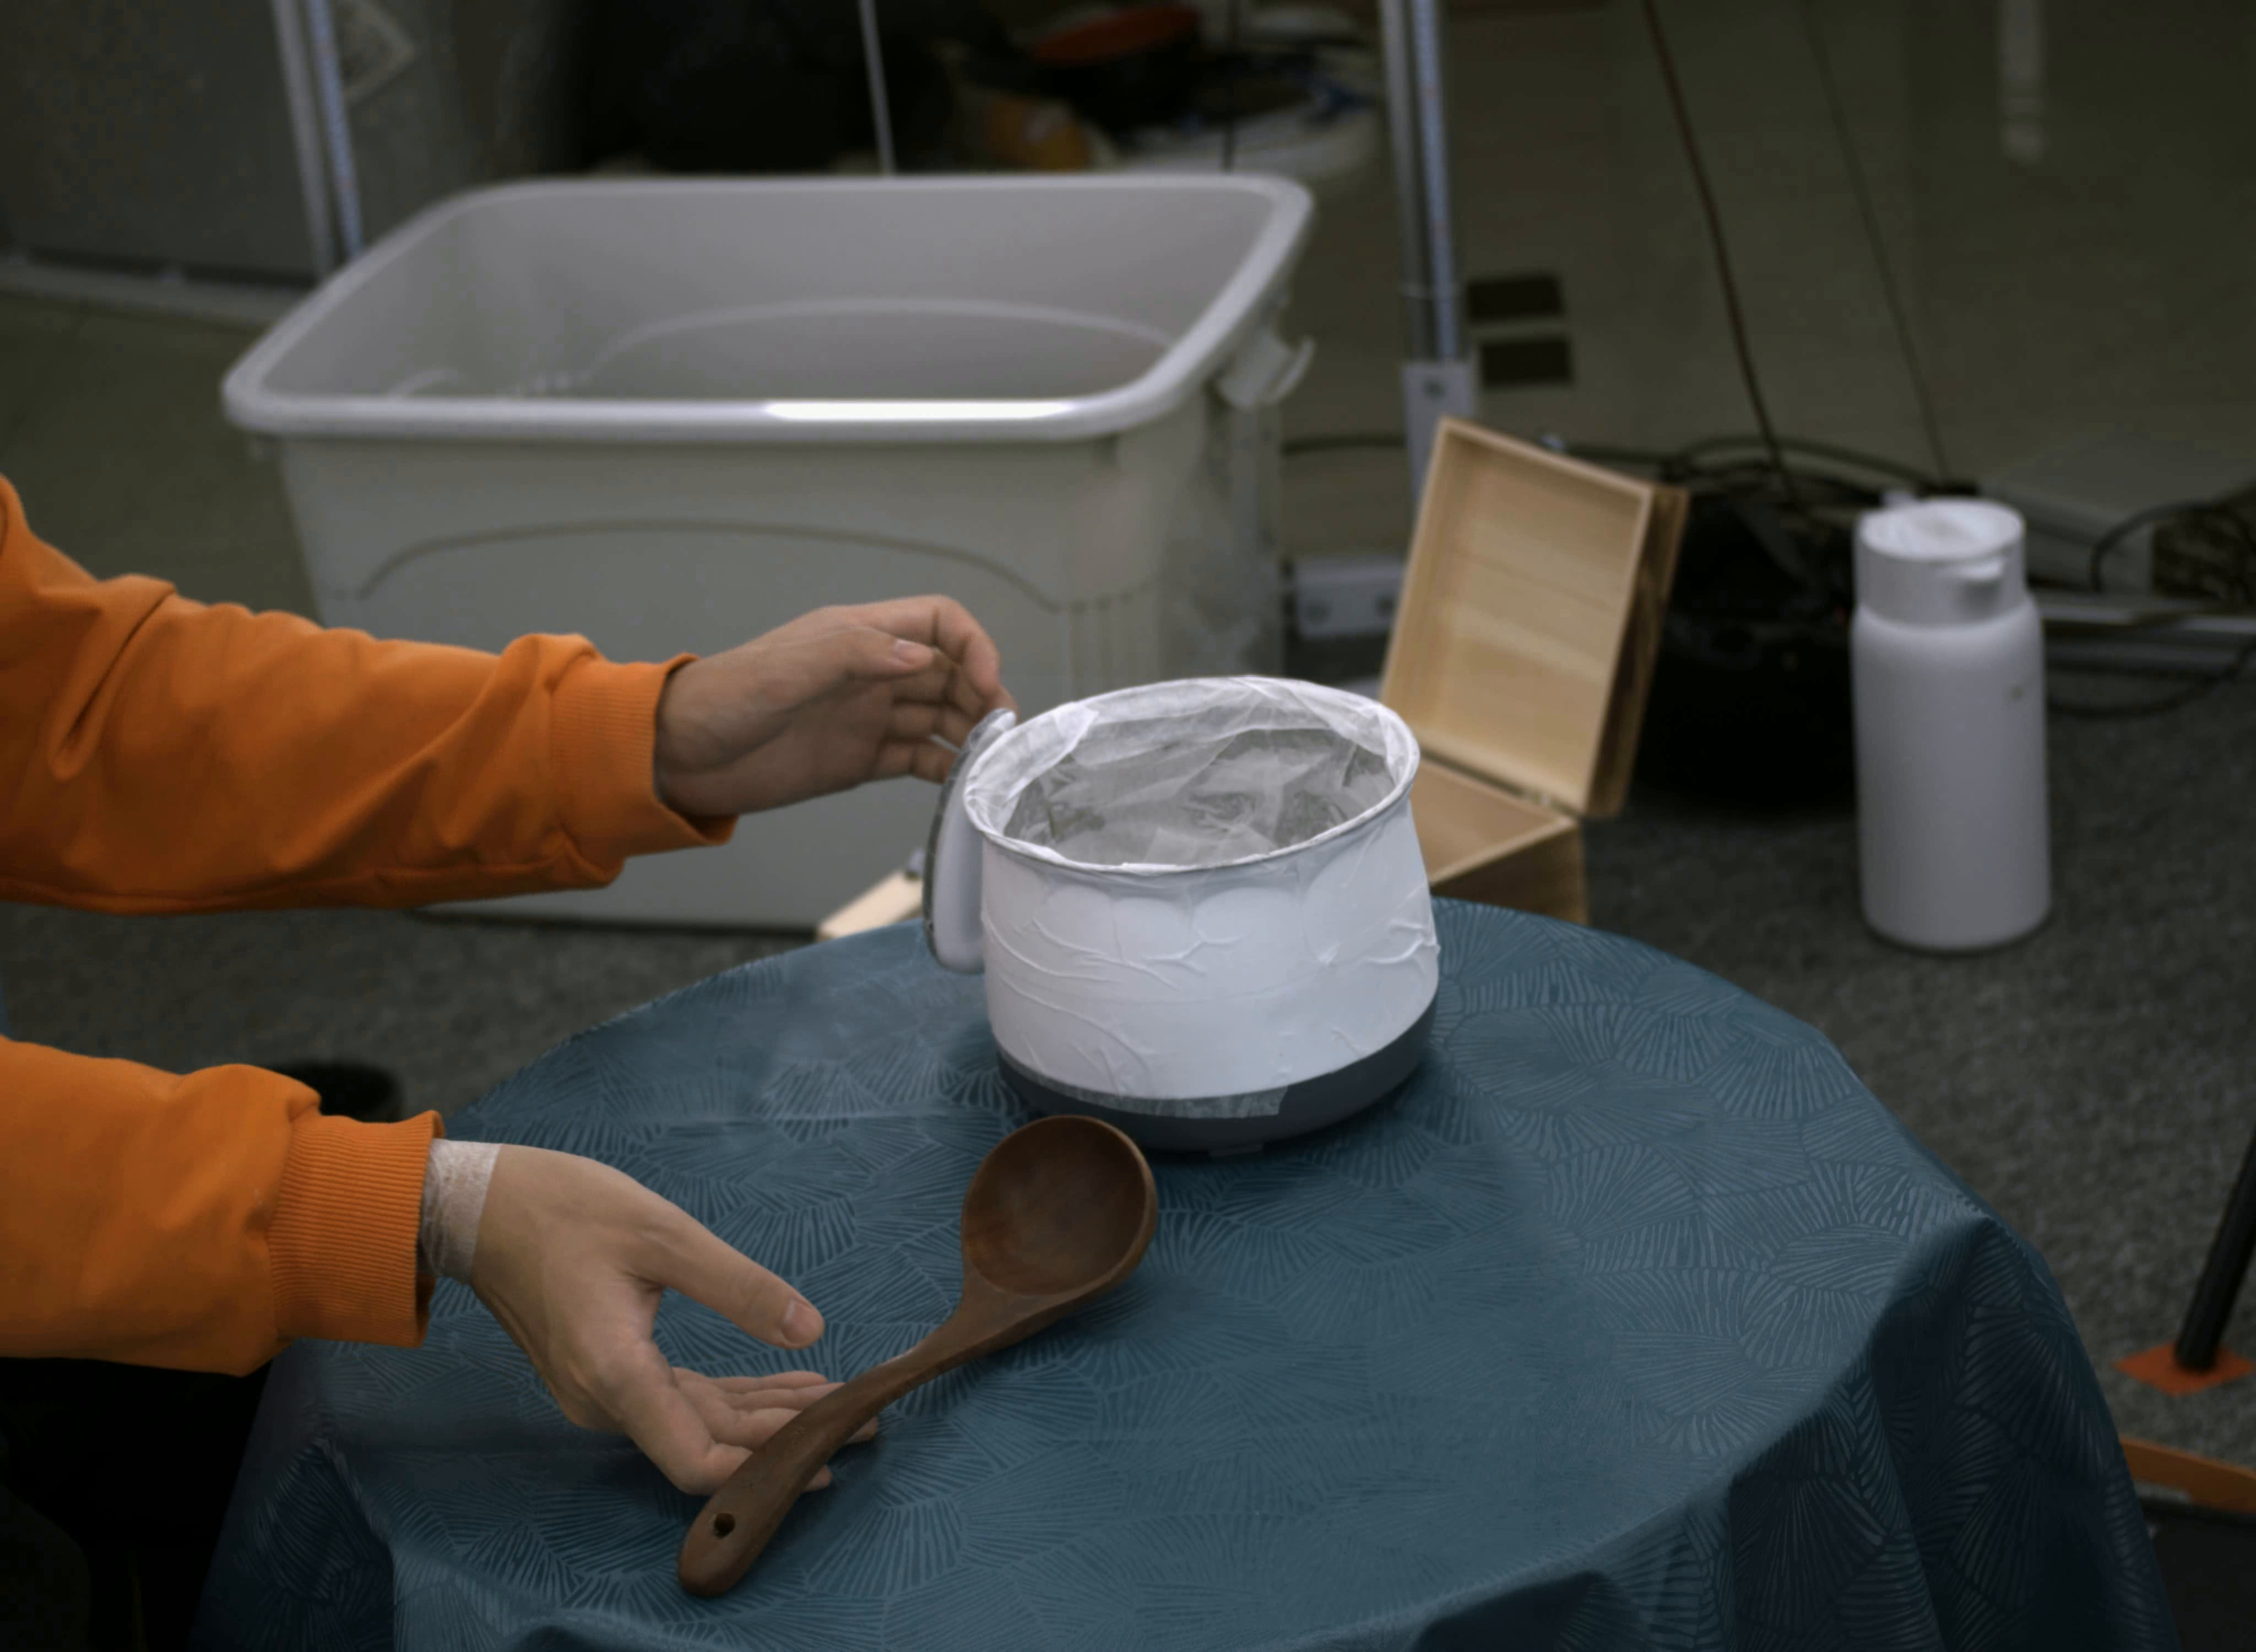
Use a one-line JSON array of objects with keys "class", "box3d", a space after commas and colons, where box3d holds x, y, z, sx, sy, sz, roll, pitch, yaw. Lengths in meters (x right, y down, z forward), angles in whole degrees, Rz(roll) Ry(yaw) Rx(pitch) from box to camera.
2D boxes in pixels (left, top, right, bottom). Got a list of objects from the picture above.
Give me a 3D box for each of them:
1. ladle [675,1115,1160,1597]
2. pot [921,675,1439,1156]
[{"class": "ladle", "box3d": [-0.078, 0.182, 1.998, 0.076, 0.066, 0.257, 13, 31, 33]}, {"class": "pot", "box3d": [0.009, 0.030, 2.213, 0.232, 0.139, 0.177, 15, 32, 37]}]
